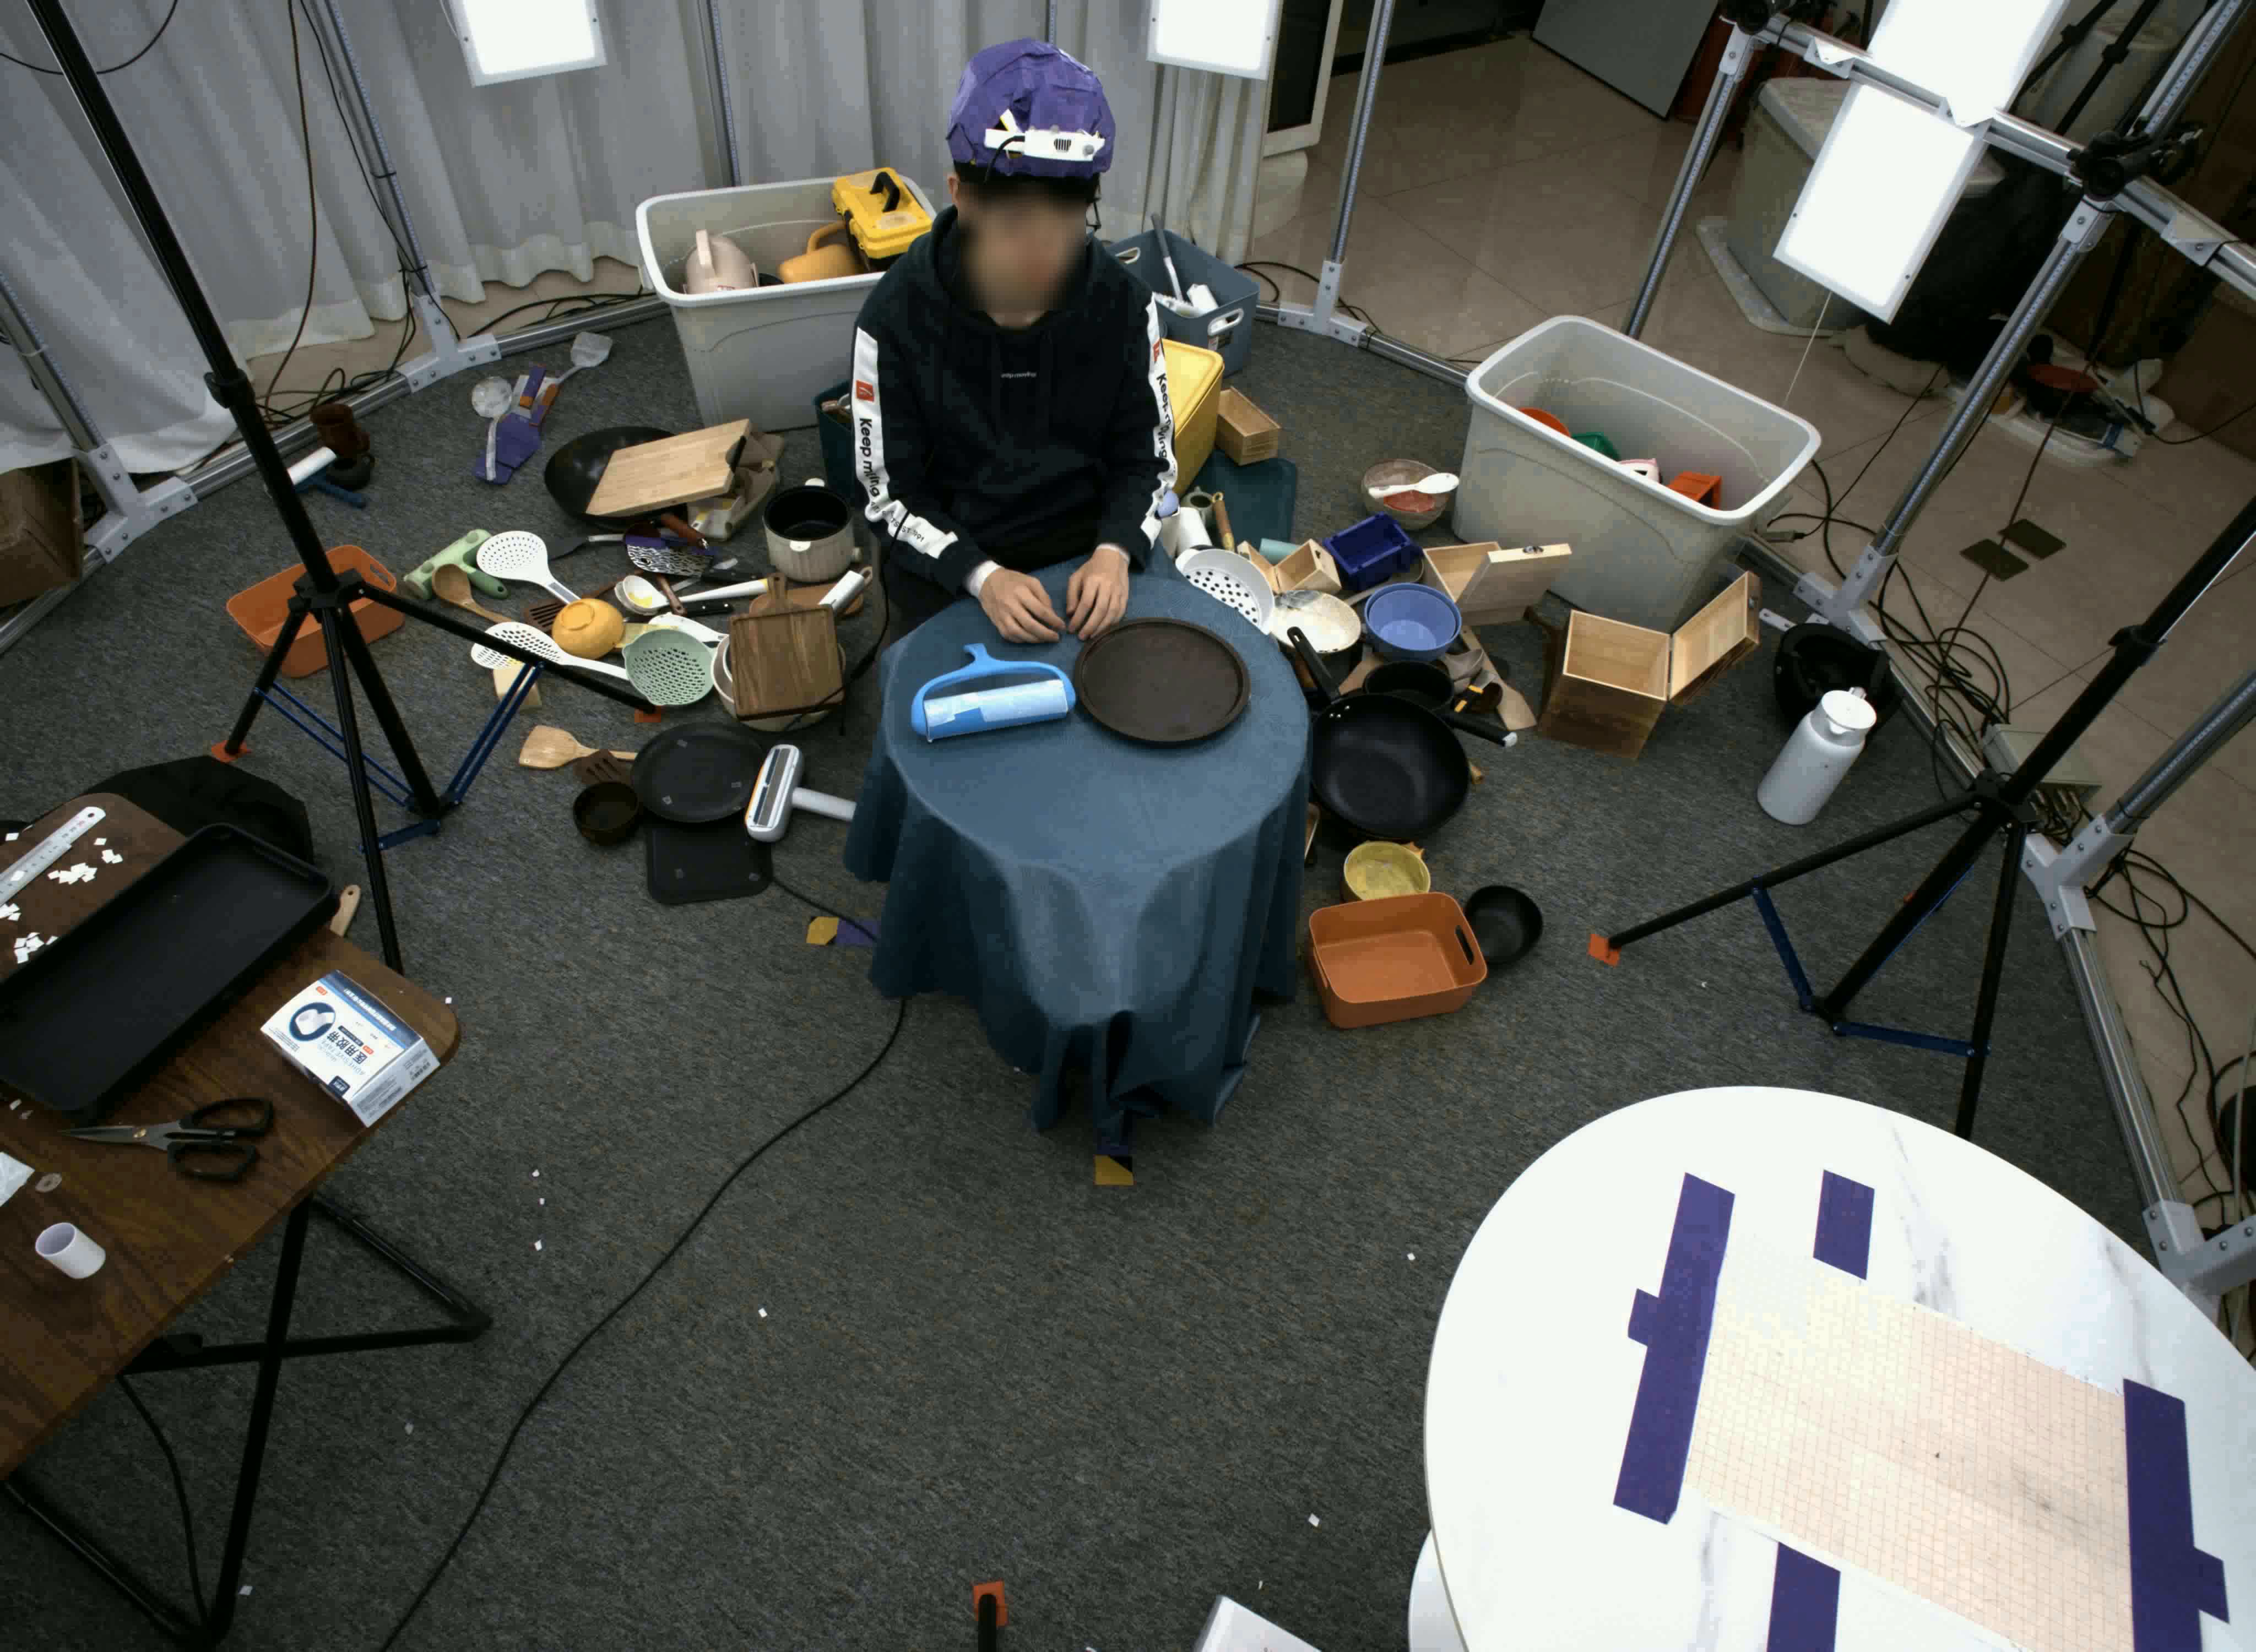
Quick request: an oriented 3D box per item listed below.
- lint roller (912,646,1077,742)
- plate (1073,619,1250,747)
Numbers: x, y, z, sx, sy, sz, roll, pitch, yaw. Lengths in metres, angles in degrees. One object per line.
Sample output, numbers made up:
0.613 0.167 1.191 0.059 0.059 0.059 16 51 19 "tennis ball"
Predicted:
-0.200 -0.205 1.796 0.229 0.066 0.184 -14 53 -13 "lint roller"
0.048 -0.206 1.835 0.254 0.028 0.261 2 50 -3 "plate"
